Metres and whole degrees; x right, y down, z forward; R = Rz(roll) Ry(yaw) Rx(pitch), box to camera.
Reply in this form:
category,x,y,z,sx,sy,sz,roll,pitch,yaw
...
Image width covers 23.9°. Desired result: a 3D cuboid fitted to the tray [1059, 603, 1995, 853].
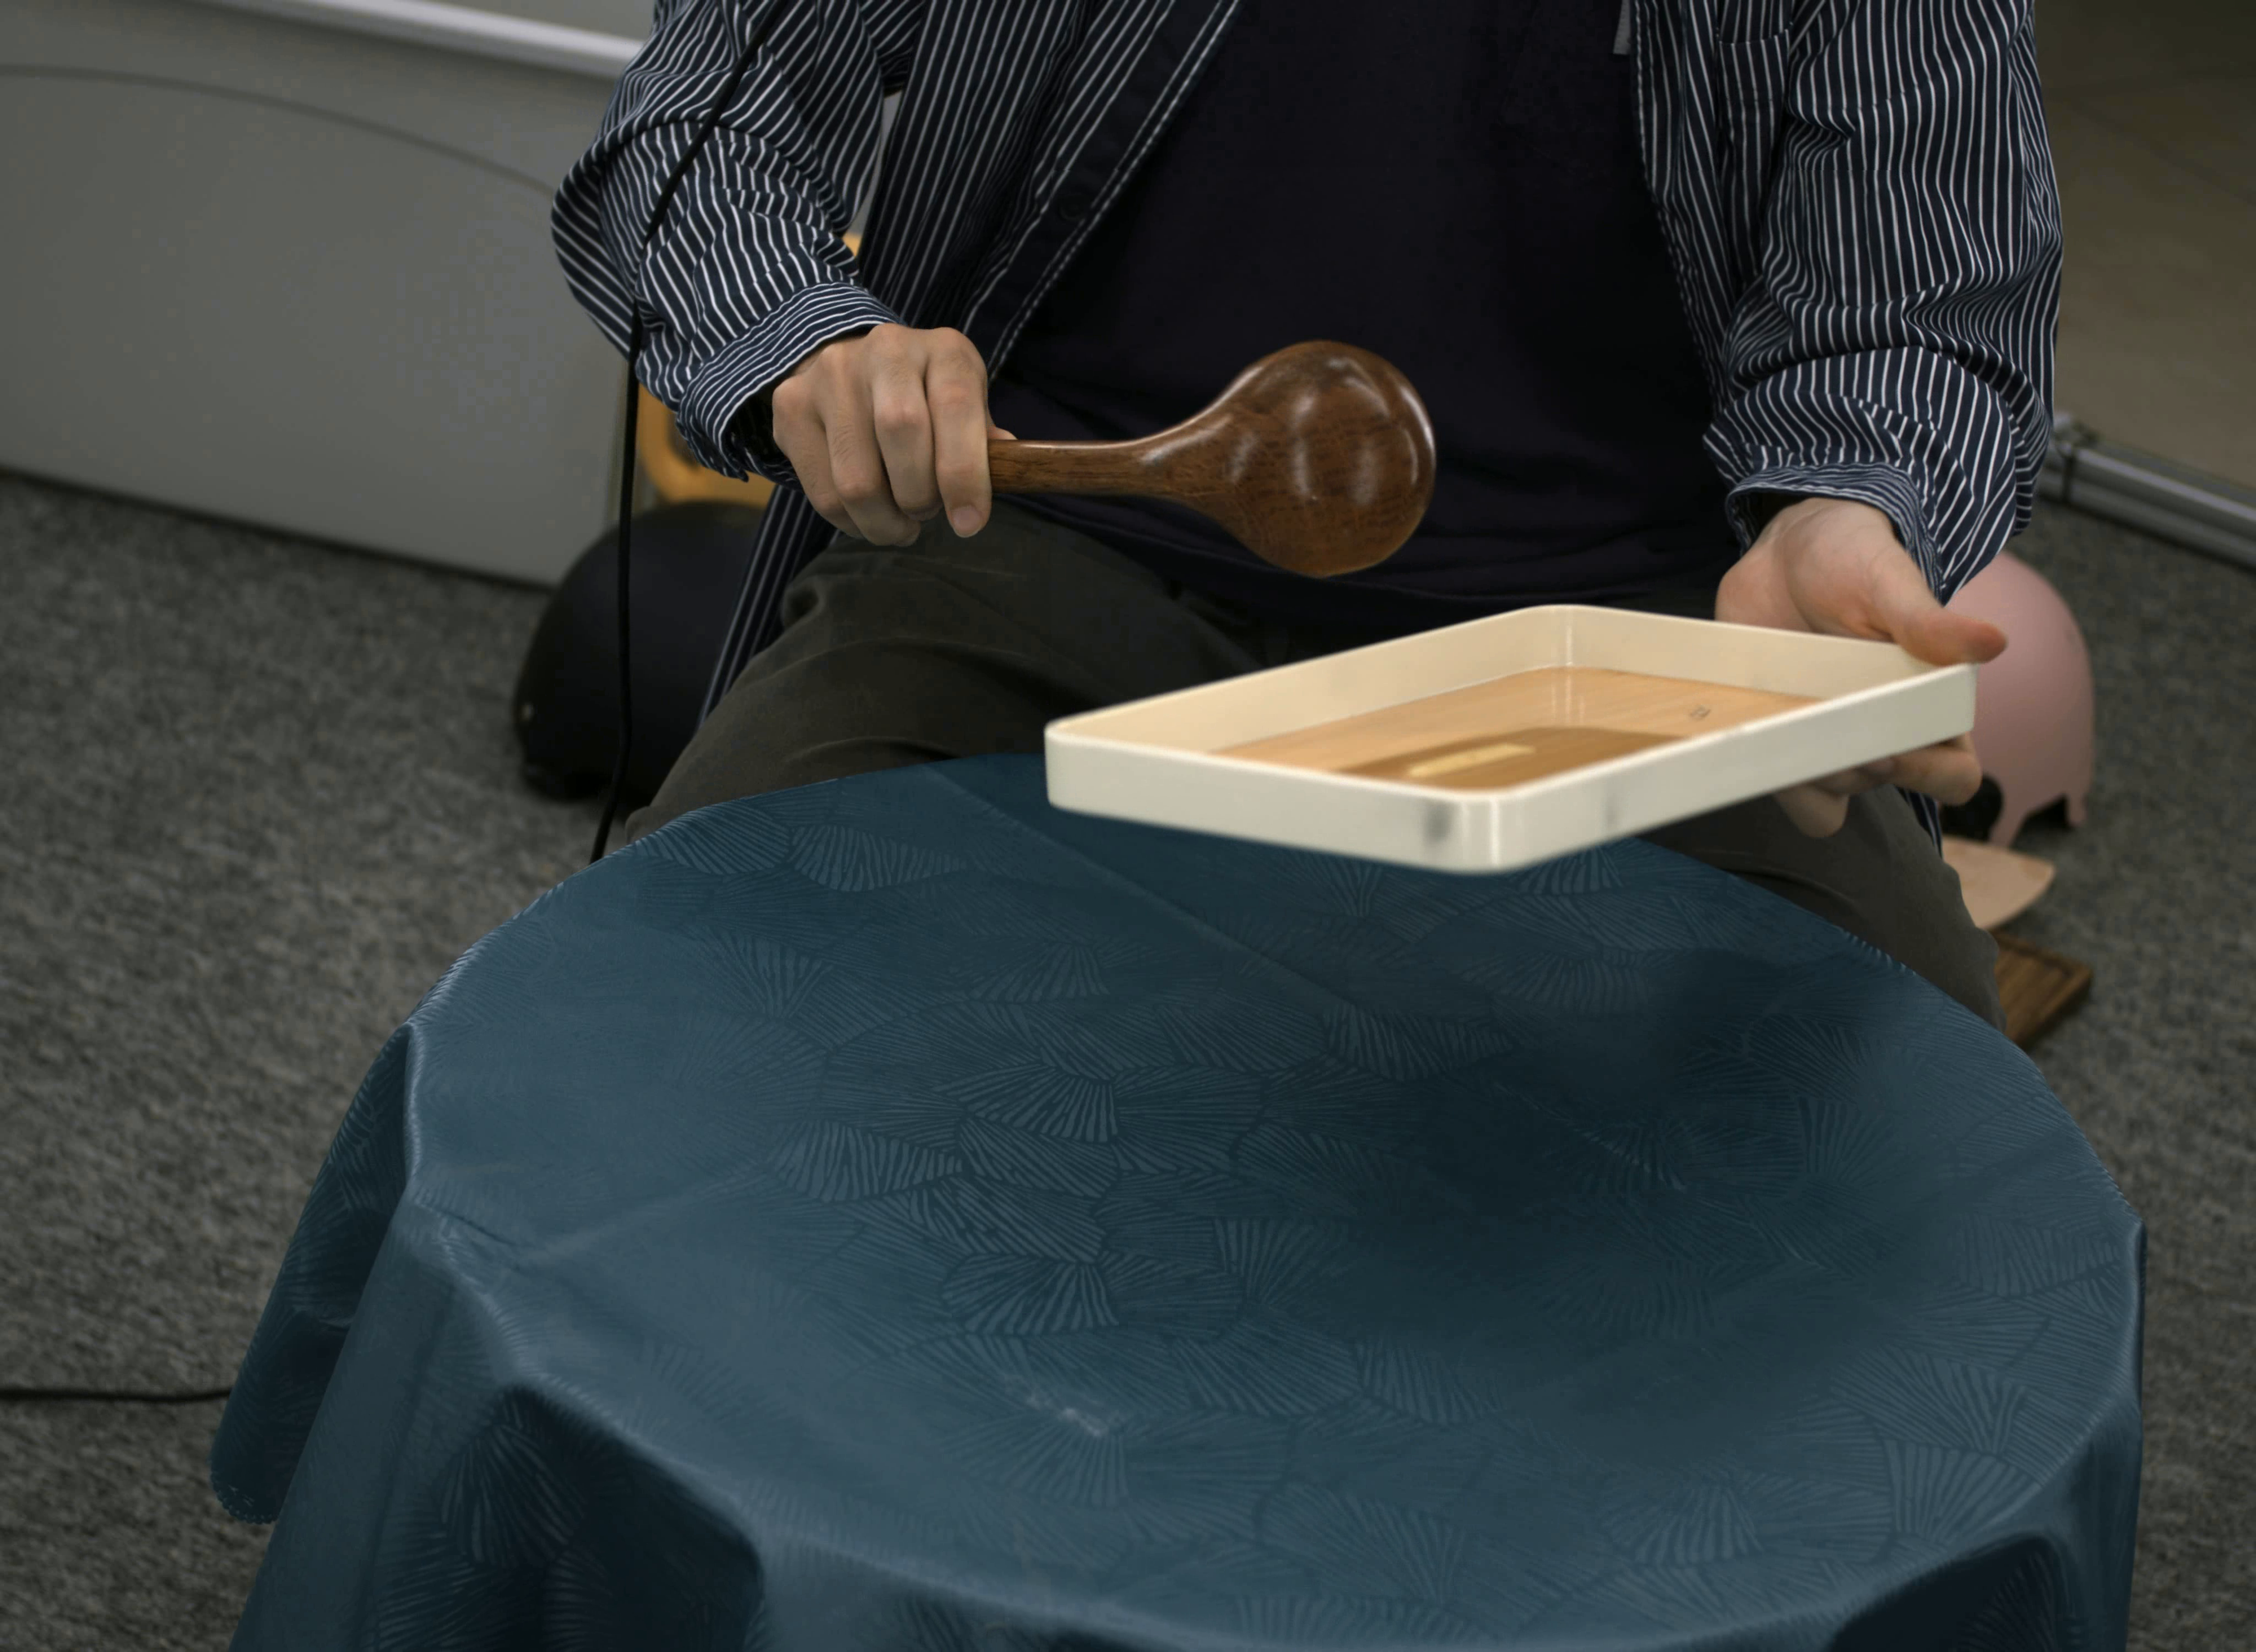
category,x,y,z,sx,sy,sz,roll,pitch,yaw
tray,0.138,-0.036,1.798,0.193,0.027,0.298,9,15,41

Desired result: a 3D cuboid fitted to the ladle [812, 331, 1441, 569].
category,x,y,z,sx,sy,sz,roll,pitch,yaw
ladle,-0.002,-0.131,1.911,0.076,0.082,0.275,1,0,-40
